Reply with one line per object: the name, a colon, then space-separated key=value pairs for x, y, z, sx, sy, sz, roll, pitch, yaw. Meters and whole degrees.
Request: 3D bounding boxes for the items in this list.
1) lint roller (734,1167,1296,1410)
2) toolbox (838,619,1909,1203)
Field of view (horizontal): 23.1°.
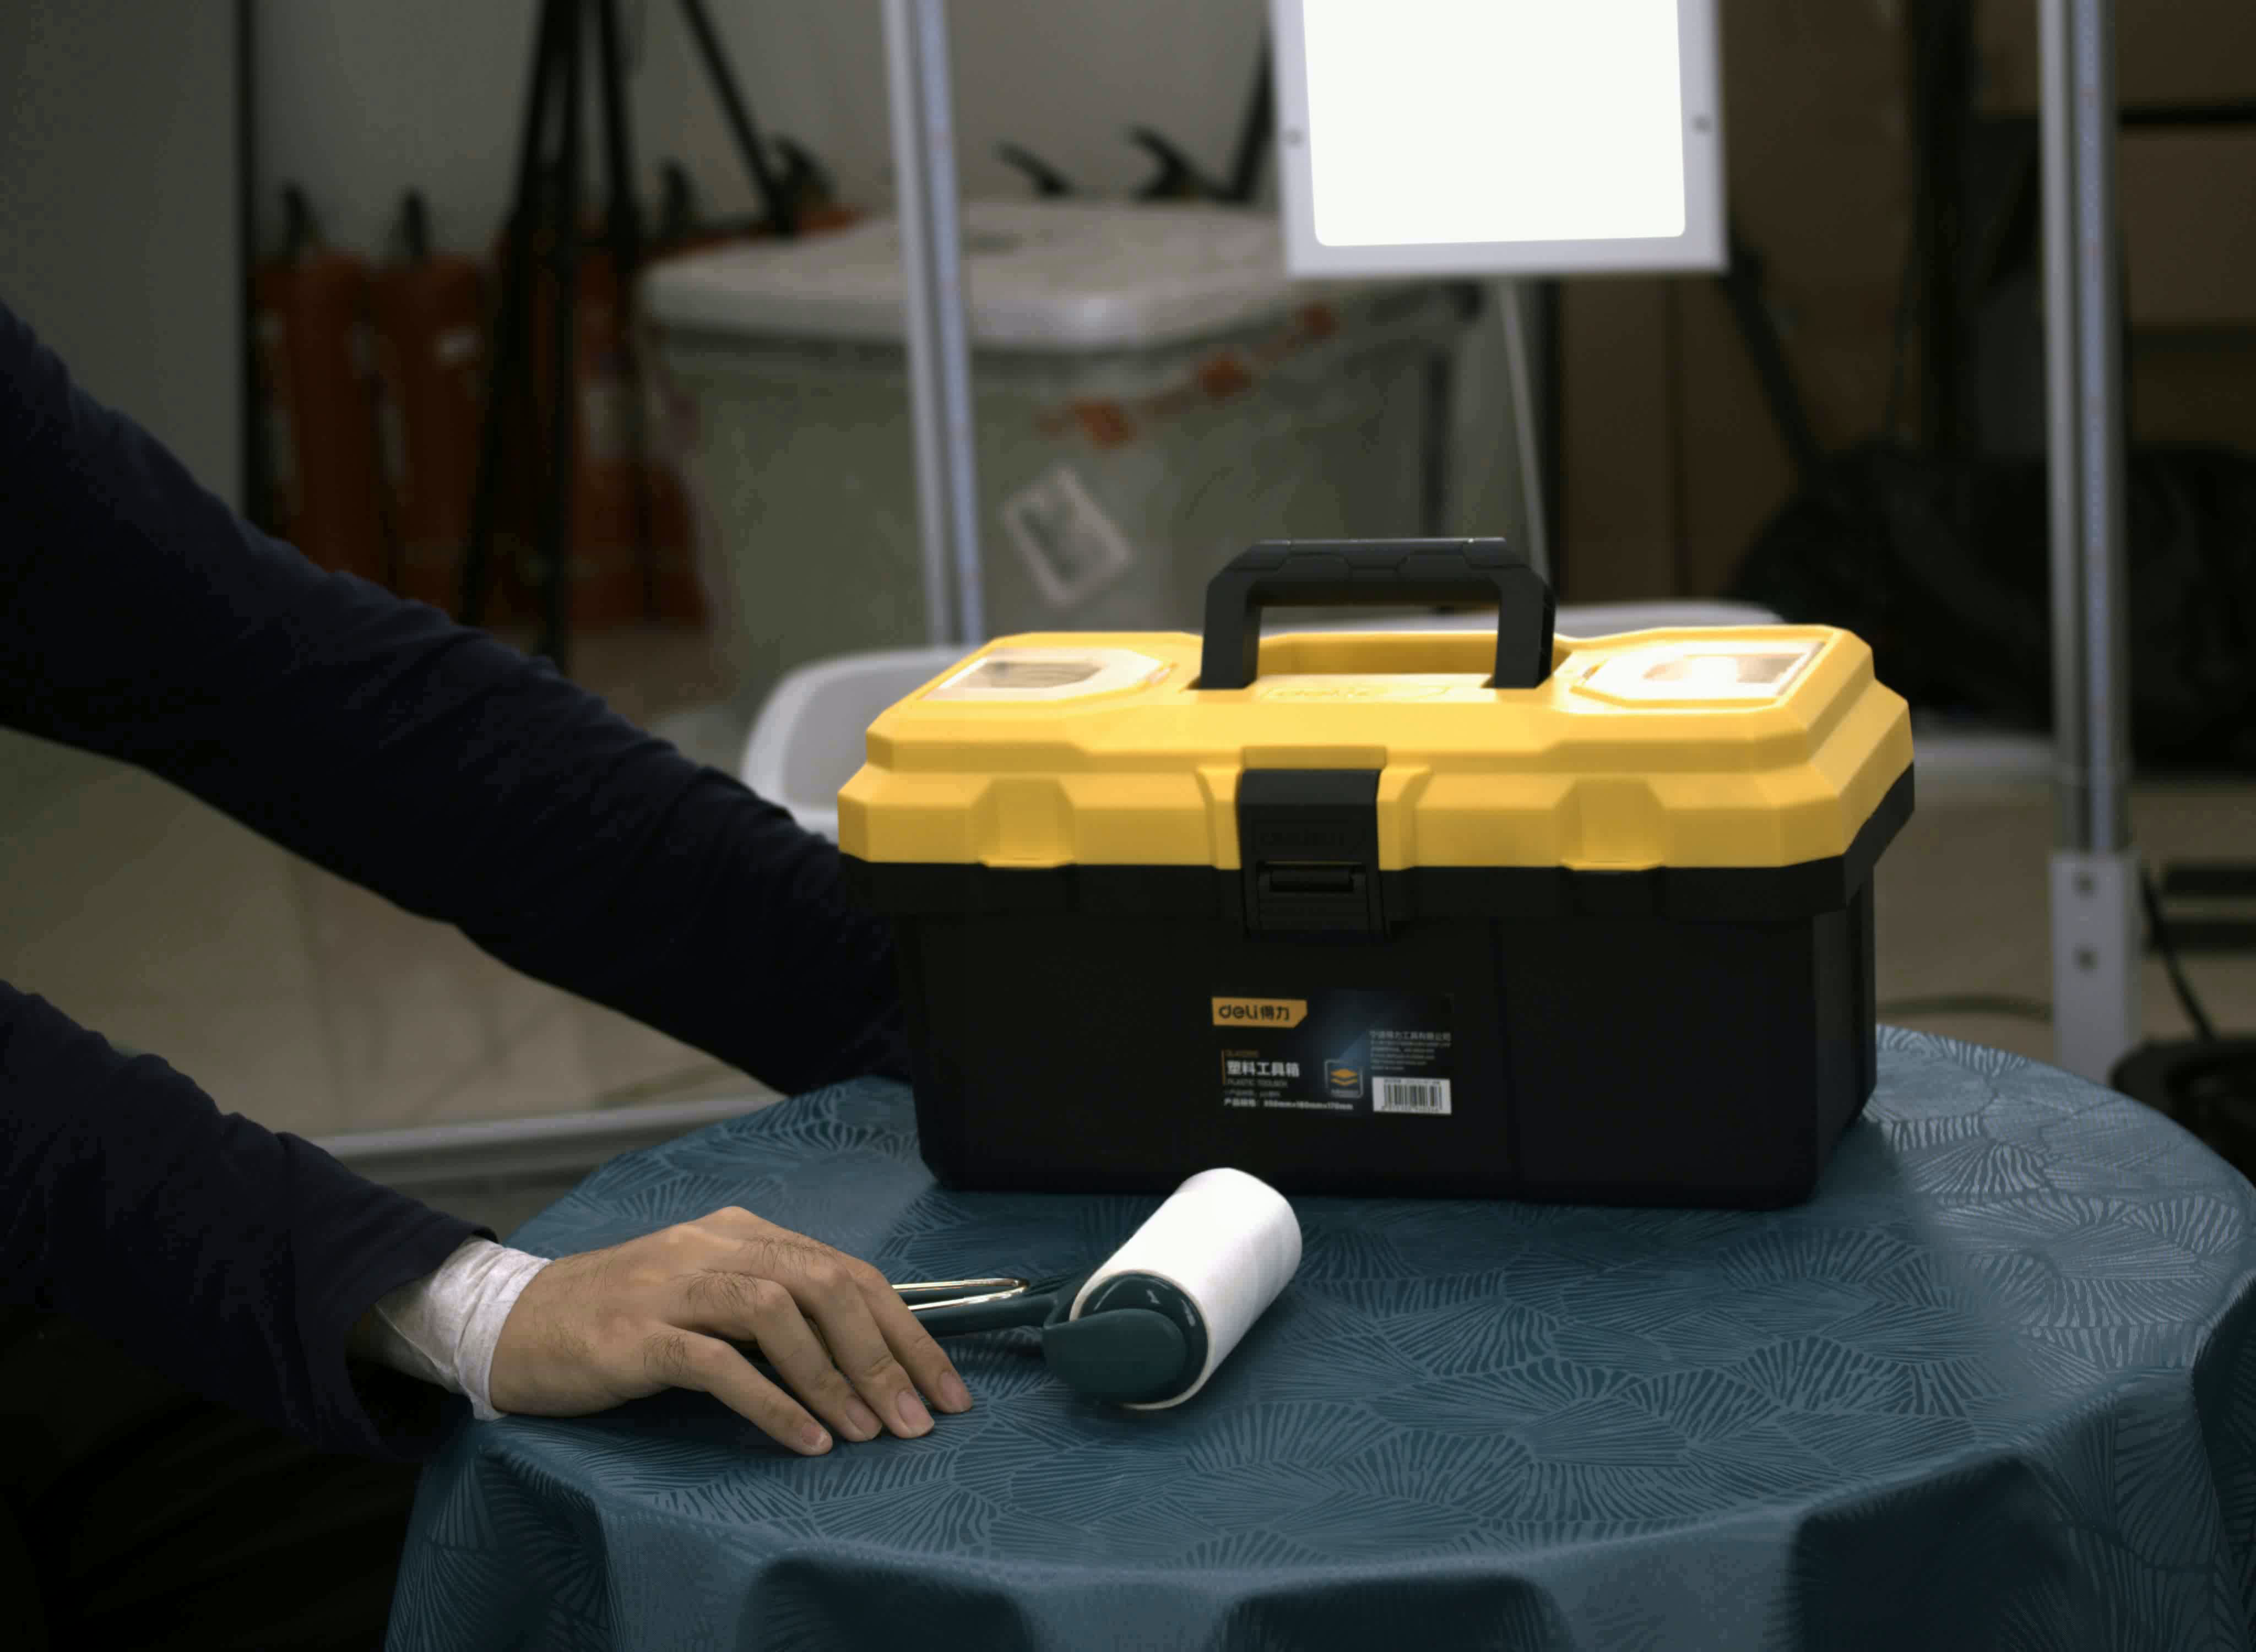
lint roller: x=-0.044 y=0.148 z=1.748 sx=0.182 sy=0.048 sz=0.132 roll=-4 pitch=14 yaw=21
toolbox: x=0.088 y=0.029 z=1.903 sx=0.356 sy=0.173 sz=0.178 roll=0 pitch=14 yaw=20
